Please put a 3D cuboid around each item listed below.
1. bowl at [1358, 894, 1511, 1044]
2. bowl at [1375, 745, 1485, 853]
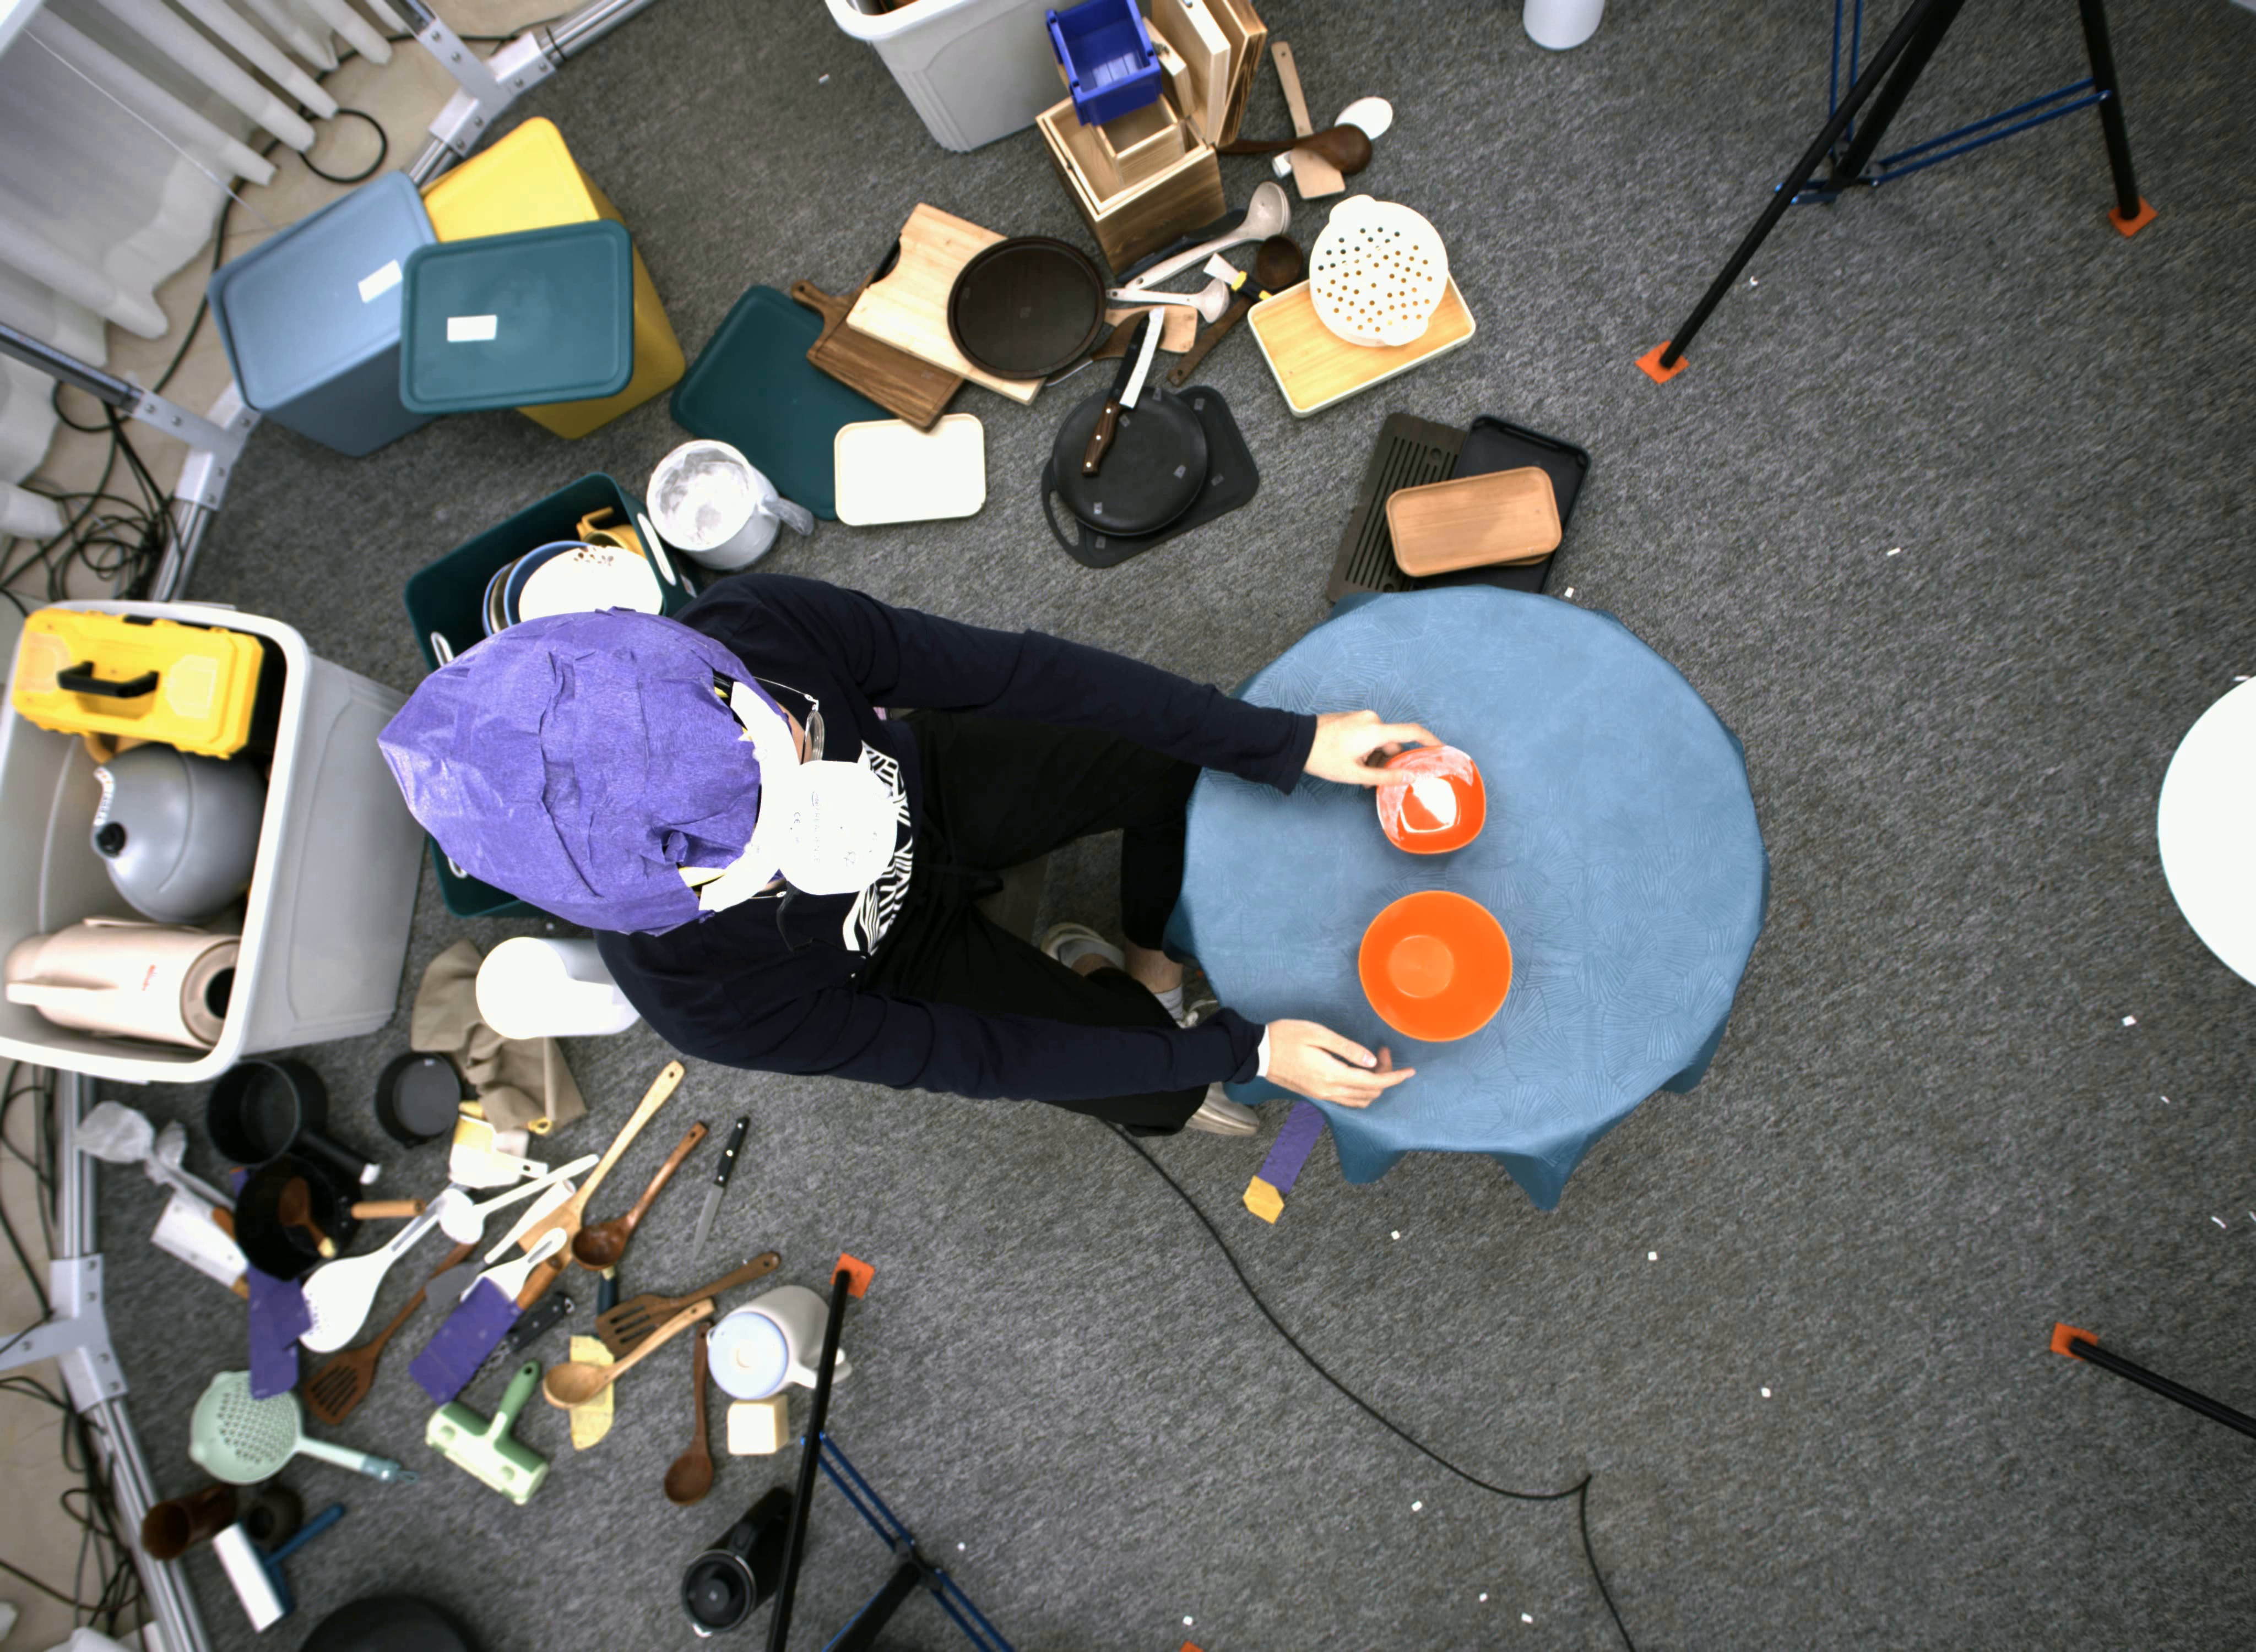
[{"bbox_3d":[0.308,0.142,1.397,0.148,0.104,0.147,-1,86,10],"label":"bowl"},{"bbox_3d":[0.313,-0.027,1.431,0.119,0.051,0.118,-1,88,10],"label":"bowl"}]
